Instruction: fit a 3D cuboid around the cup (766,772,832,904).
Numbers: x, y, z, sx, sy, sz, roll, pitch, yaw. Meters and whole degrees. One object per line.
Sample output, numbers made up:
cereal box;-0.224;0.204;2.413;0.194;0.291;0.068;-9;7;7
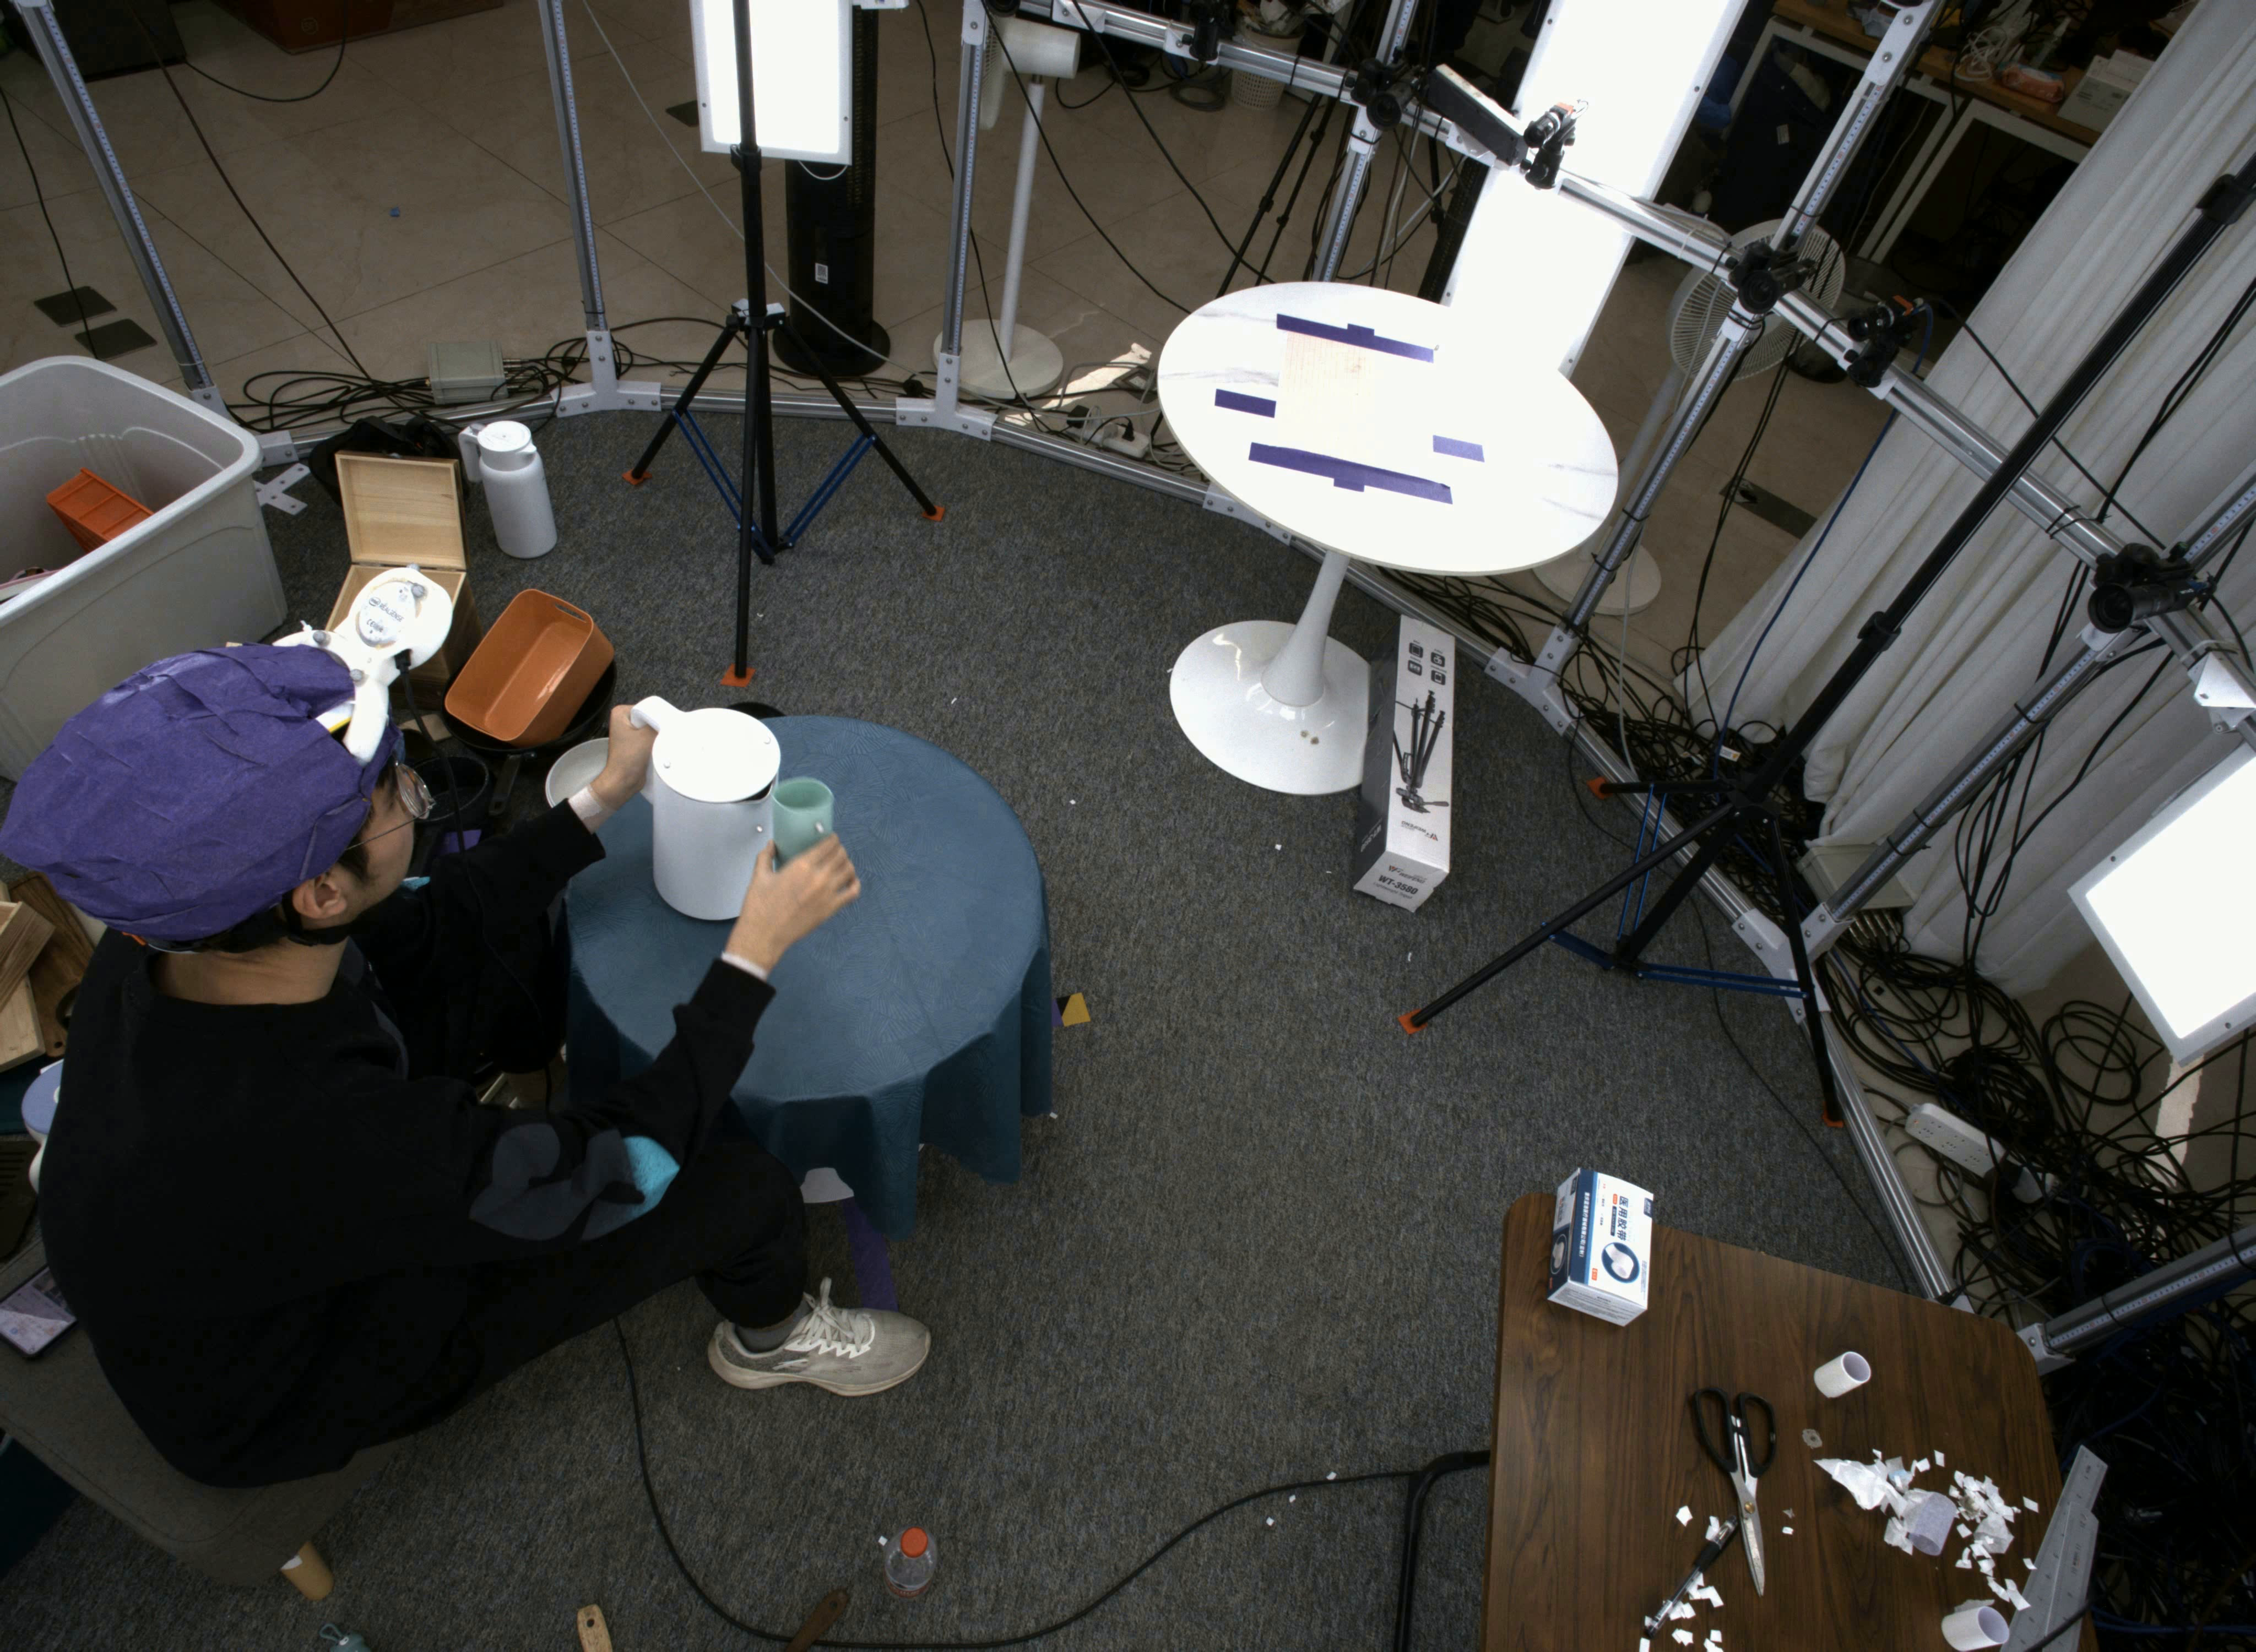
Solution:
cup;-0.367;0.013;1.444;0.066;0.136;0.065;5;33;-1

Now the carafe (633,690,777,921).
carafe;-0.520;-0.033;1.569;0.210;0.244;0.152;37;49;11
